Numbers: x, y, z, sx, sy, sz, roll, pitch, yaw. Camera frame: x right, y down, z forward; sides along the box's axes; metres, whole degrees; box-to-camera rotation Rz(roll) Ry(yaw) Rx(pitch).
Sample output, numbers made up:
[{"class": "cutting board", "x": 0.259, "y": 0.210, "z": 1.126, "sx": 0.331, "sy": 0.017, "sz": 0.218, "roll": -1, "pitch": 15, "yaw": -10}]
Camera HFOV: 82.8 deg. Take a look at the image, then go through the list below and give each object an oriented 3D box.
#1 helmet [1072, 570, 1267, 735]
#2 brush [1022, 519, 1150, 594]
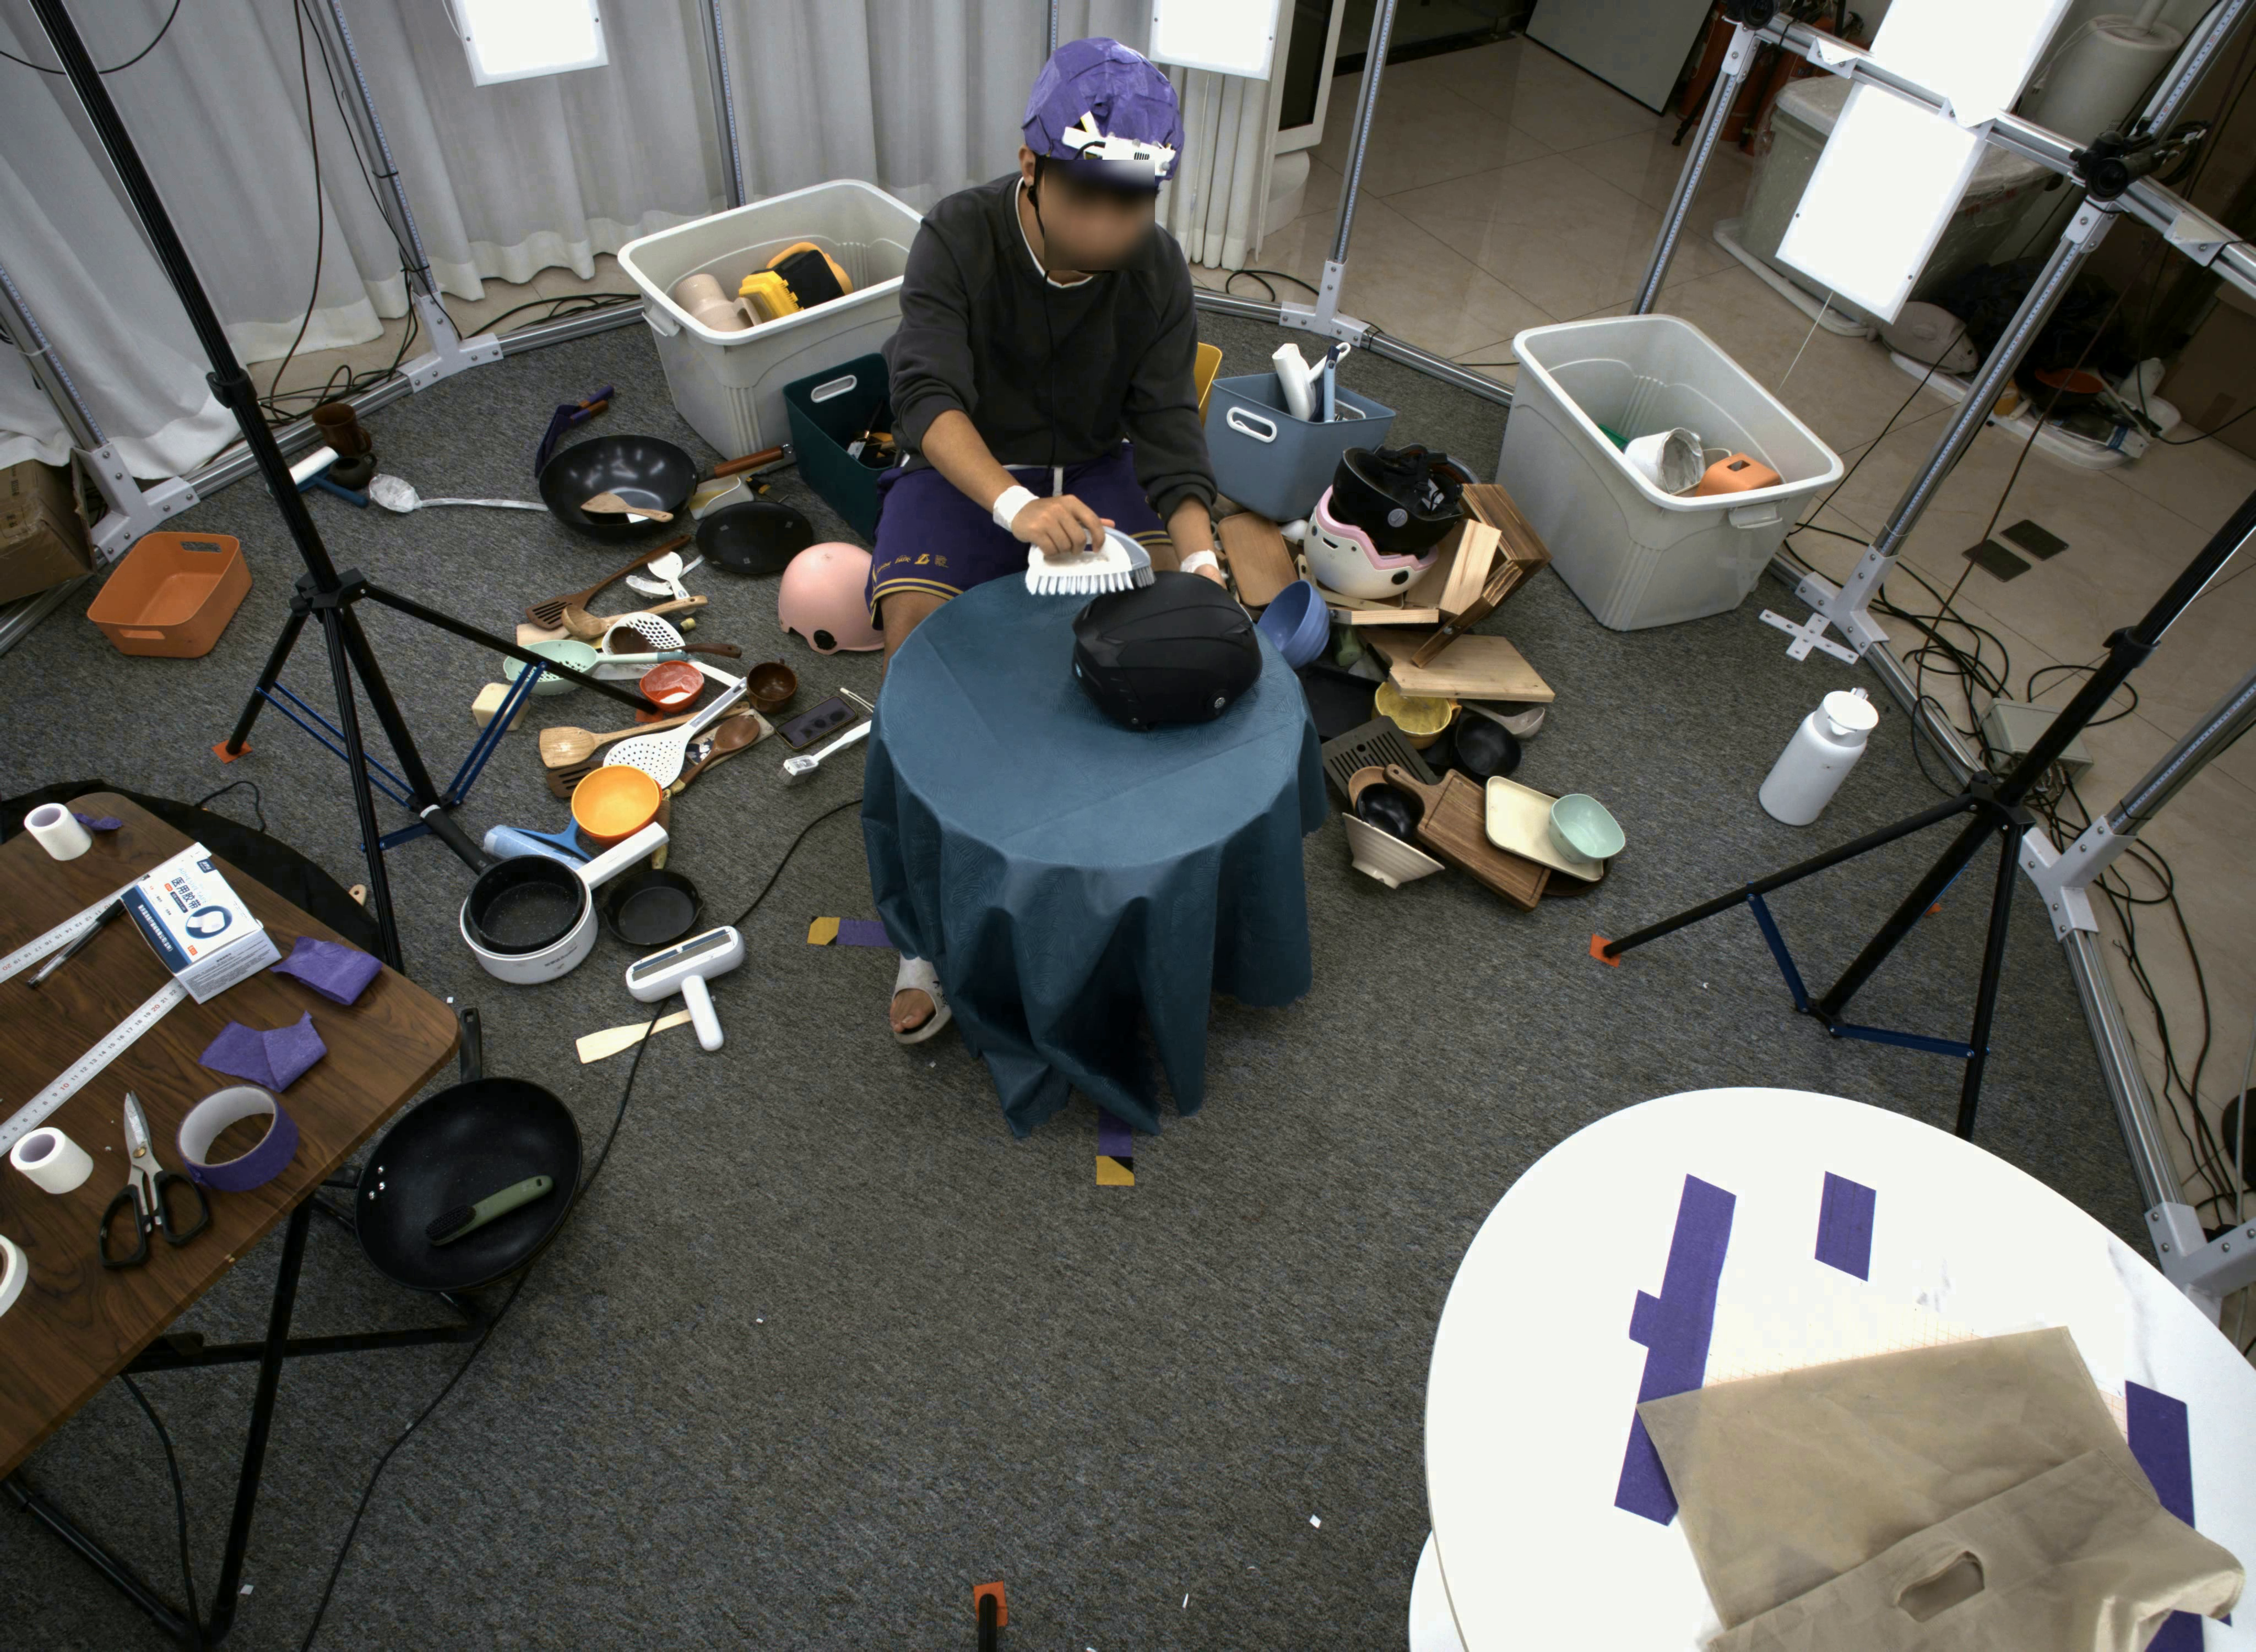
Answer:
[{"class": "helmet", "x": 0.056, "y": -0.264, "z": 1.798, "sx": 0.277, "sy": 0.168, "sz": 0.252, "roll": -17, "pitch": 53, "yaw": -13}, {"class": "brush", "x": -0.051, "y": -0.363, "z": 1.717, "sx": 0.175, "sy": 0.092, "sz": 0.063, "roll": 0, "pitch": 38, "yaw": -12}]
